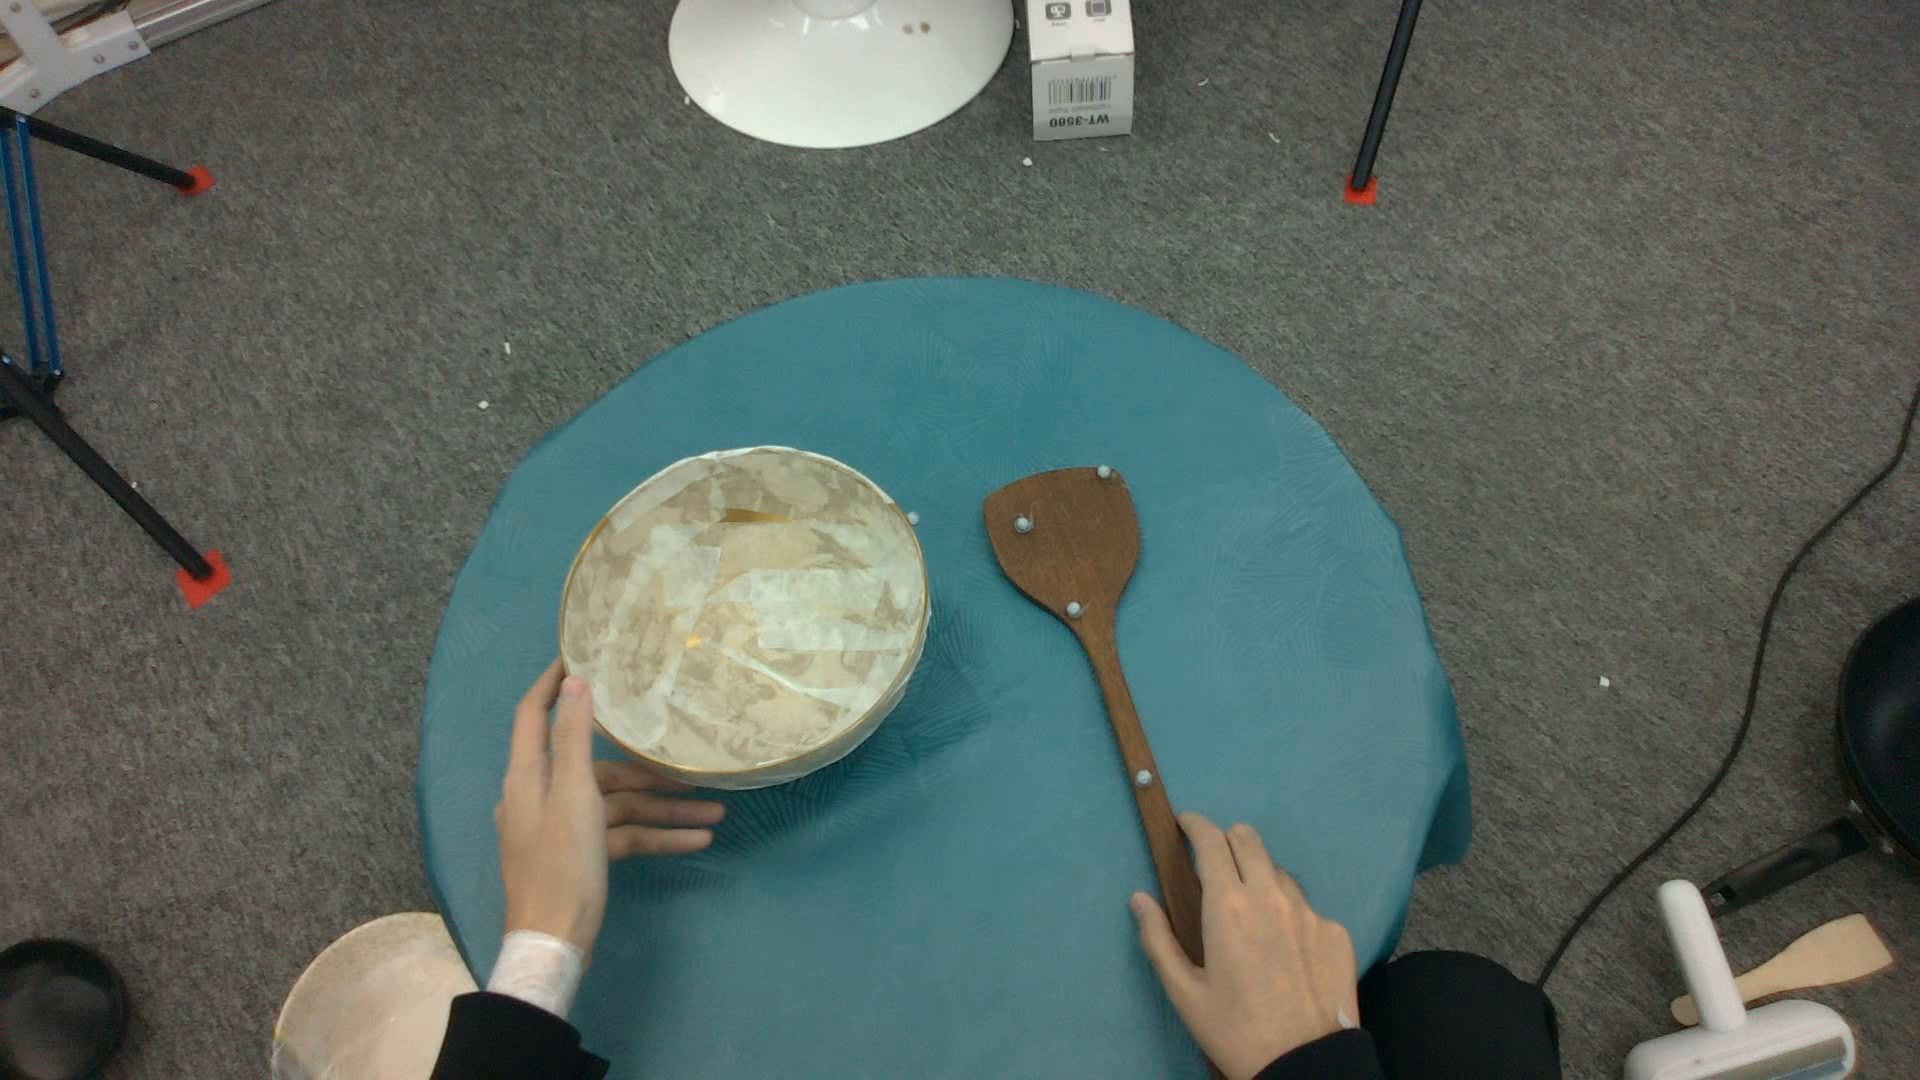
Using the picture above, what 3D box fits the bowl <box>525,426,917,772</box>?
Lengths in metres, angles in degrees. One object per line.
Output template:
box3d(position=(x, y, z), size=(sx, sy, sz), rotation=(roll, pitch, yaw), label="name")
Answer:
box3d(position=(-0.127, 0.046, 0.775), size=(0.215, 0.094, 0.215), rotation=(0, 59, 0), label="bowl")

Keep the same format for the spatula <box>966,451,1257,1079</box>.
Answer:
box3d(position=(0.091, 0.109, 0.777), size=(0.096, 0.016, 0.387), rotation=(-13, 59, -6), label="spatula")
